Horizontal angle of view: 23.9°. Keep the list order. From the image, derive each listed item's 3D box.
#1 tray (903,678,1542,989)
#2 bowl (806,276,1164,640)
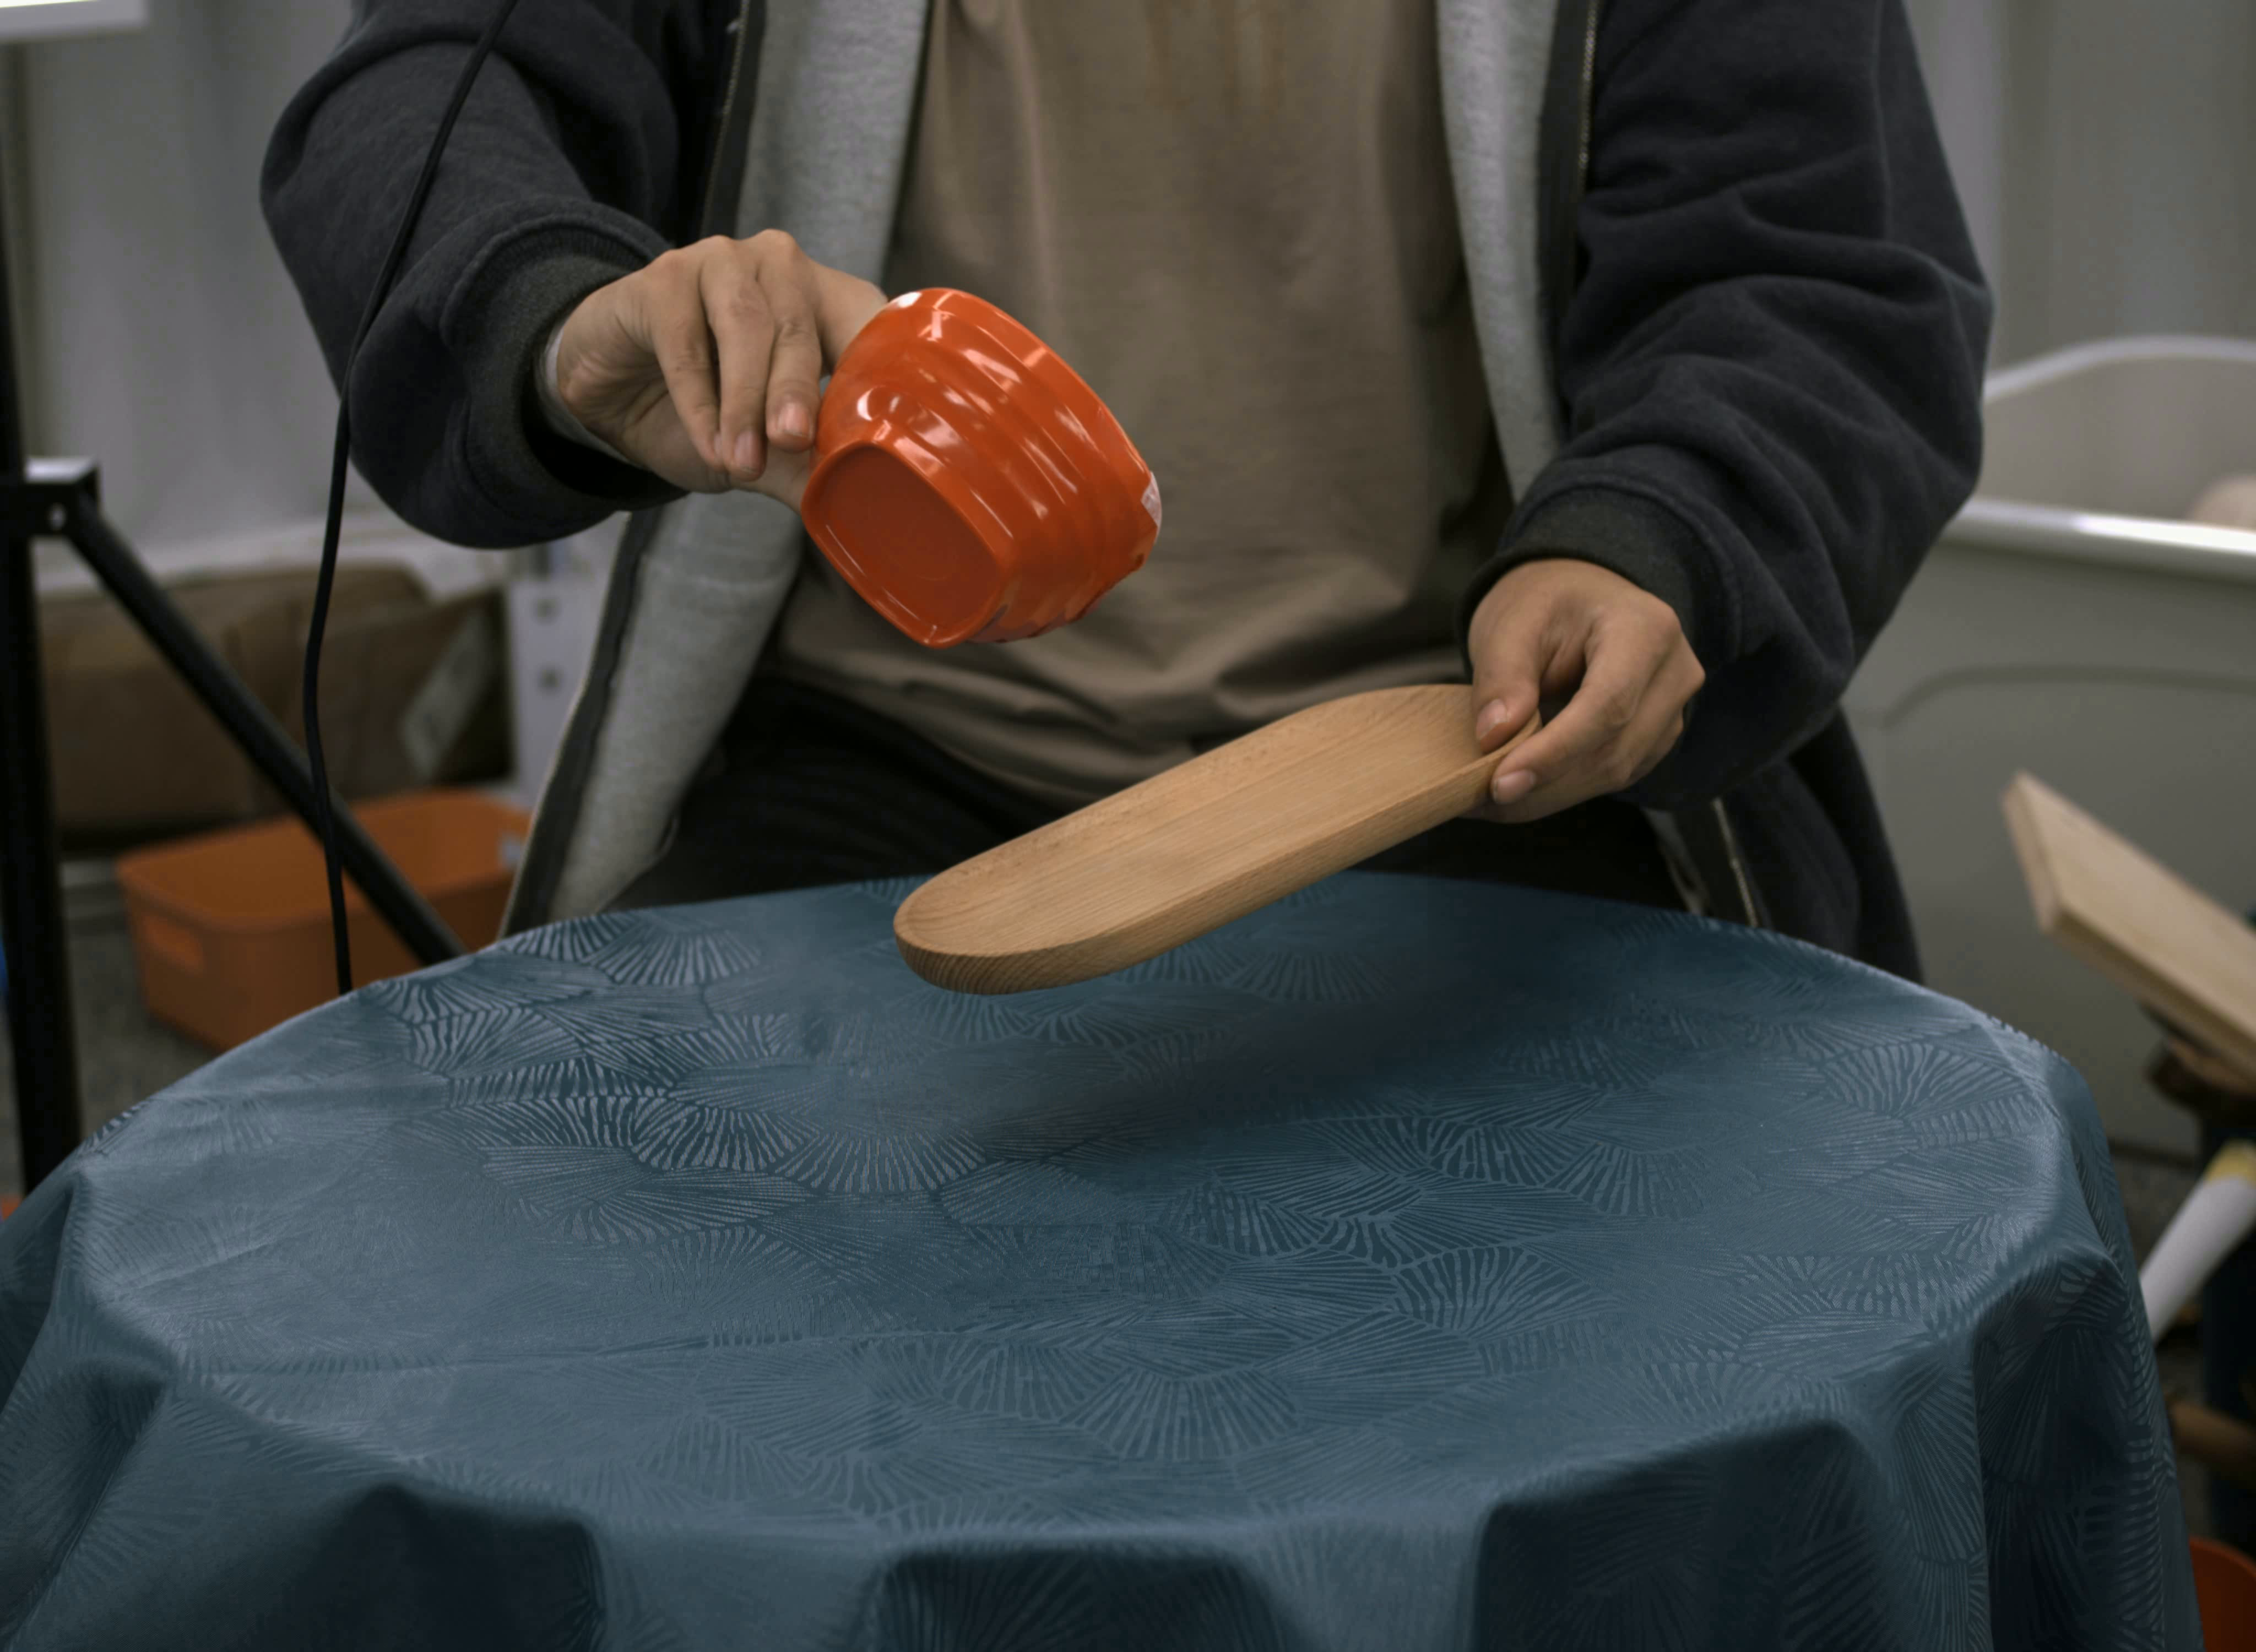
[{"bbox_3d":[0.032,0.001,1.637,0.226,0.020,0.104,-24,23,-33],"label":"tray"},{"bbox_3d":[-0.051,-0.099,1.574,0.121,0.117,0.051,12,45,40],"label":"bowl"}]
